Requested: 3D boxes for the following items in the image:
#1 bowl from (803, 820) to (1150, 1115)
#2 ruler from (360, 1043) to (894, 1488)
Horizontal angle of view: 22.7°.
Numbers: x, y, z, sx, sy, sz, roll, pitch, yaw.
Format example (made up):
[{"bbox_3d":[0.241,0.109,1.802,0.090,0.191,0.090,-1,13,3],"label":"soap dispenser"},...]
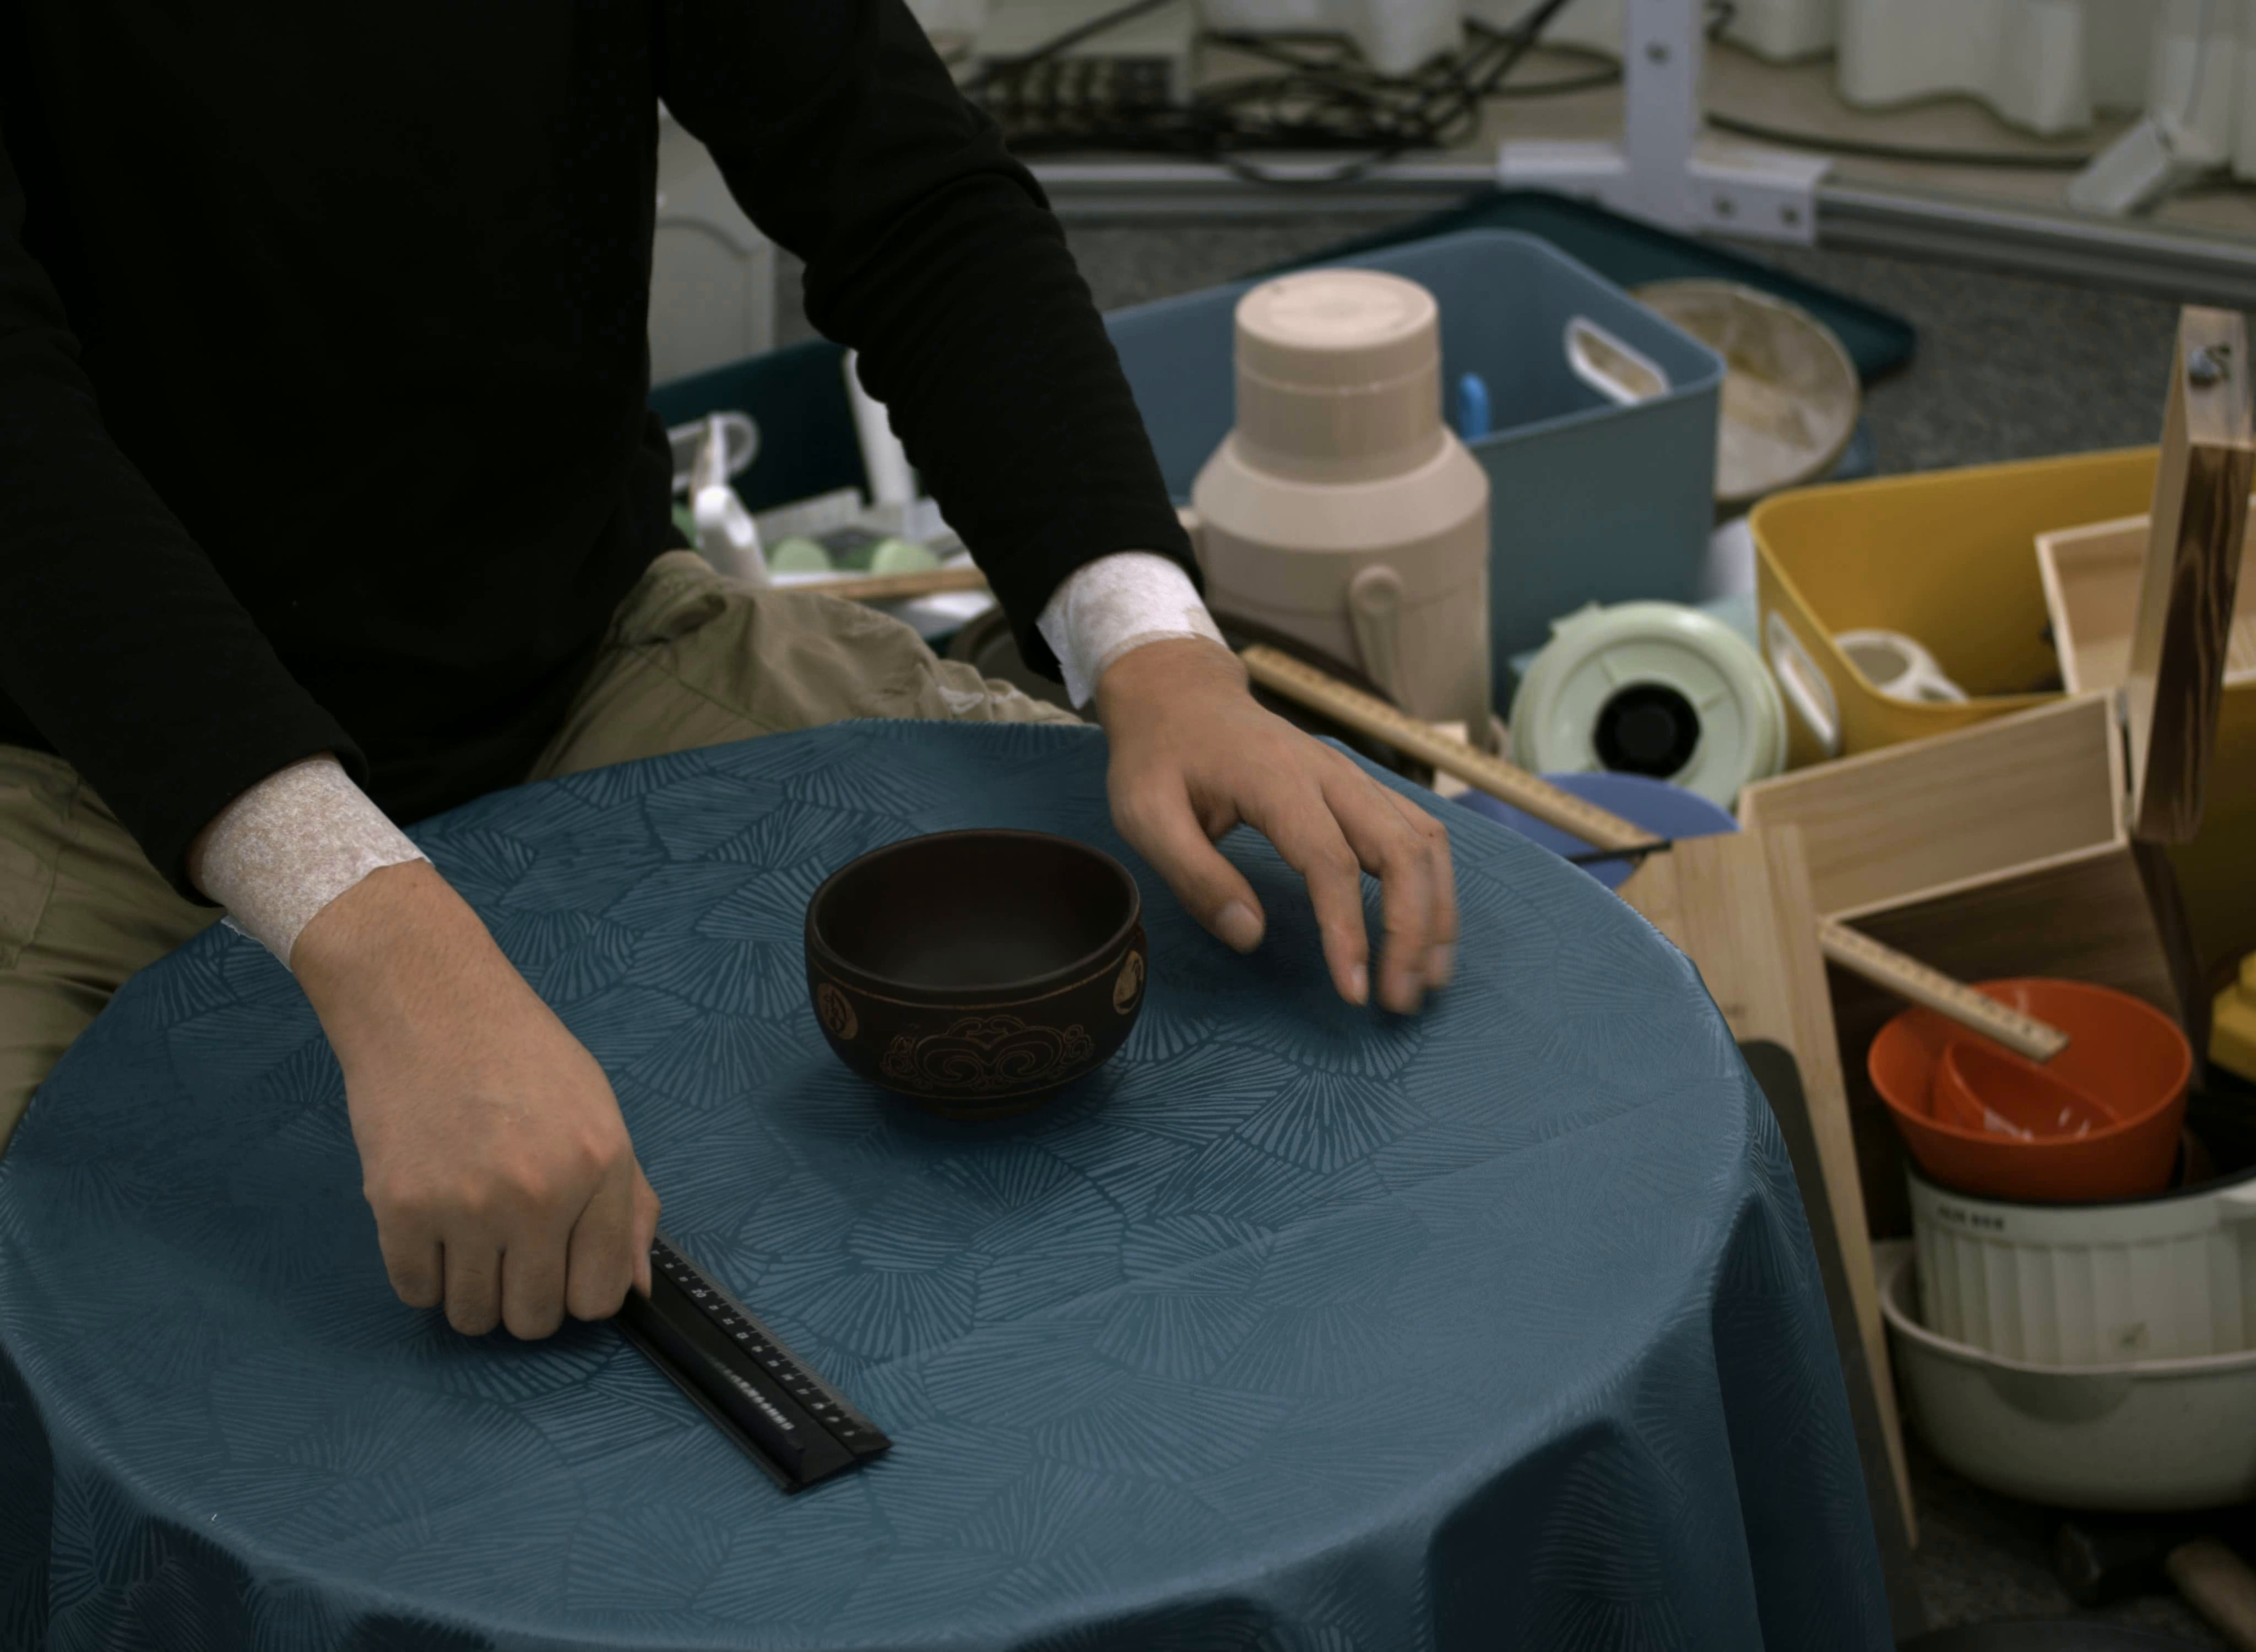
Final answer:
[{"bbox_3d":[-0.051,0.055,1.916,0.117,0.069,0.120,-2,27,1],"label":"bowl"},{"bbox_3d":[-0.169,0.134,1.835,0.039,0.017,0.313,-18,31,-27],"label":"ruler"}]
